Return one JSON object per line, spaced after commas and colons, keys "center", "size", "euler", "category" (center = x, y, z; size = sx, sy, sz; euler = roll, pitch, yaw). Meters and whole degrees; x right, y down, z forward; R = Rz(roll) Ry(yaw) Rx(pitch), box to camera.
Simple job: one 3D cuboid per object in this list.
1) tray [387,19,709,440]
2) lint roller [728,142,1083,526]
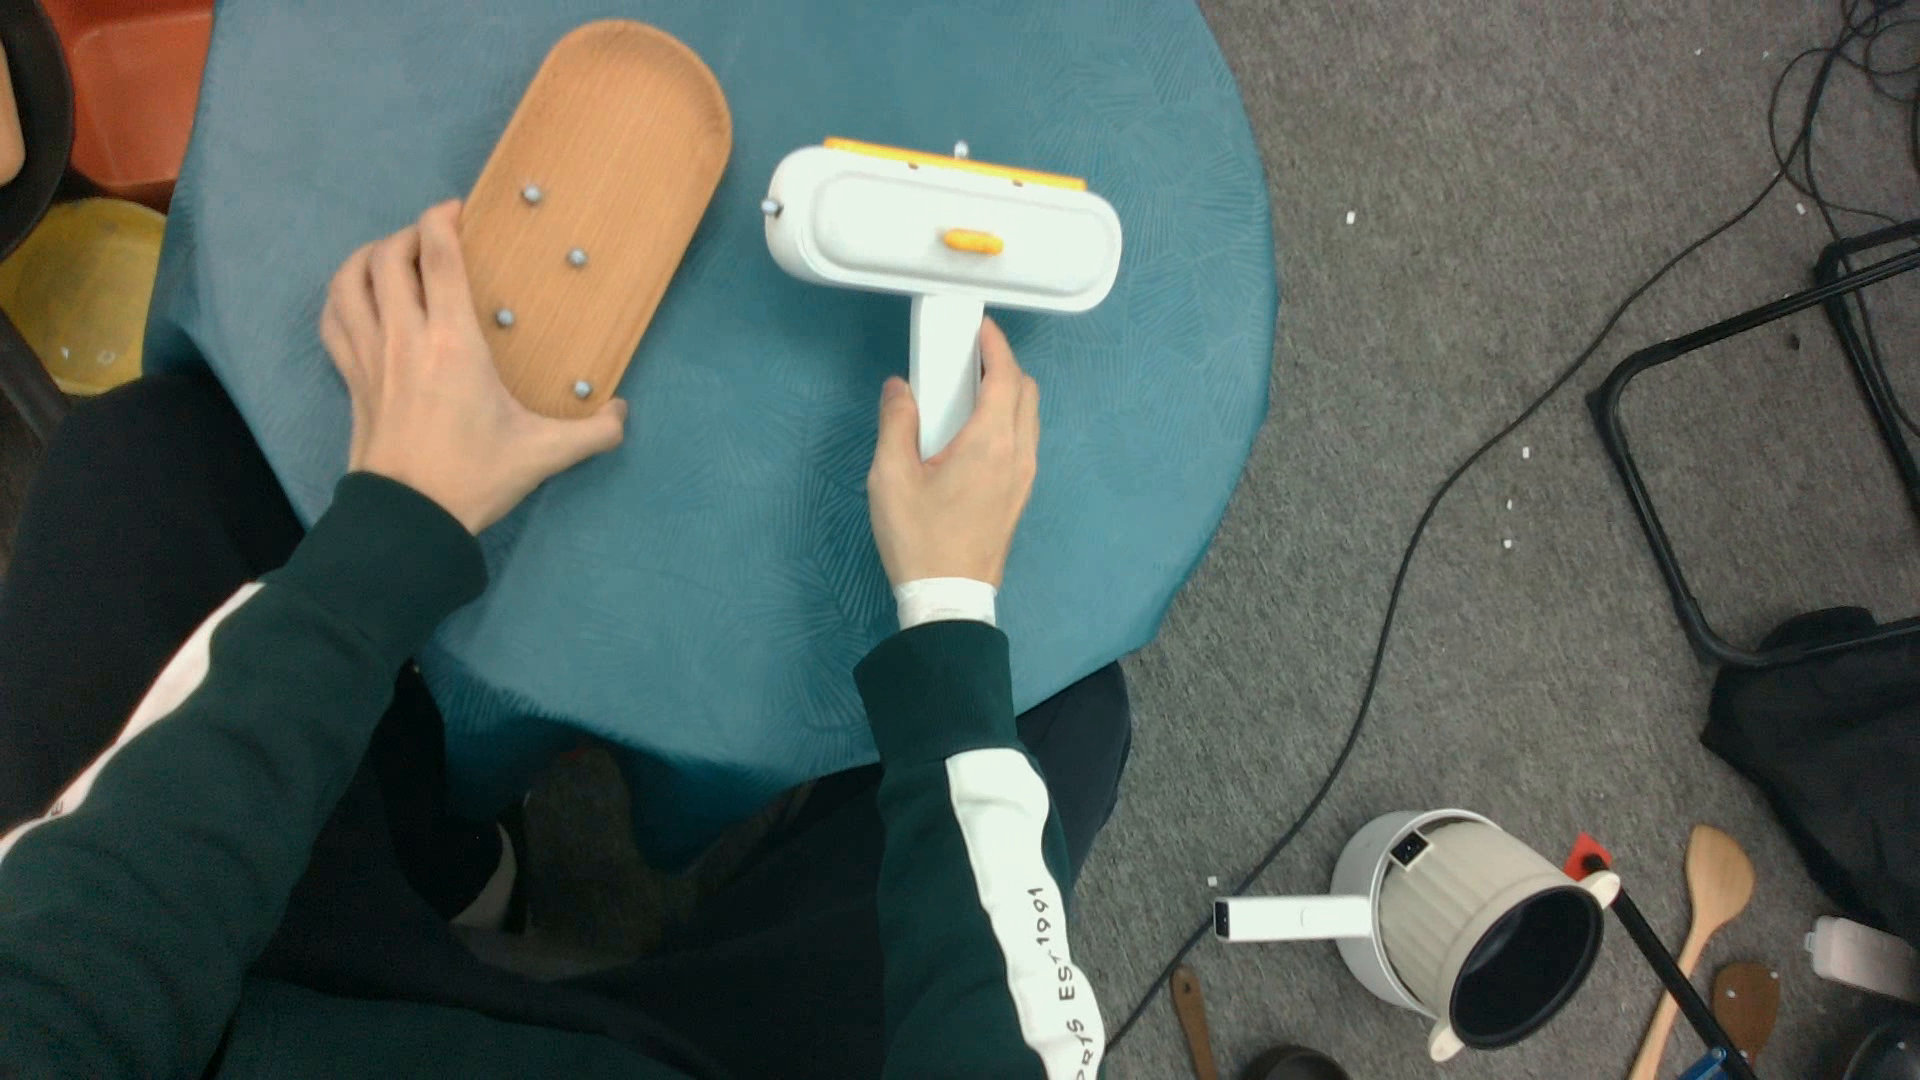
{"center": [-0.204, -0.158, 0.694], "size": [0.102, 0.020, 0.232], "euler": [26, 74, -20], "category": "tray"}
{"center": [-0.022, -0.105, 0.717], "size": [0.193, 0.074, 0.192], "euler": [-3, 98, -29], "category": "lint roller"}
